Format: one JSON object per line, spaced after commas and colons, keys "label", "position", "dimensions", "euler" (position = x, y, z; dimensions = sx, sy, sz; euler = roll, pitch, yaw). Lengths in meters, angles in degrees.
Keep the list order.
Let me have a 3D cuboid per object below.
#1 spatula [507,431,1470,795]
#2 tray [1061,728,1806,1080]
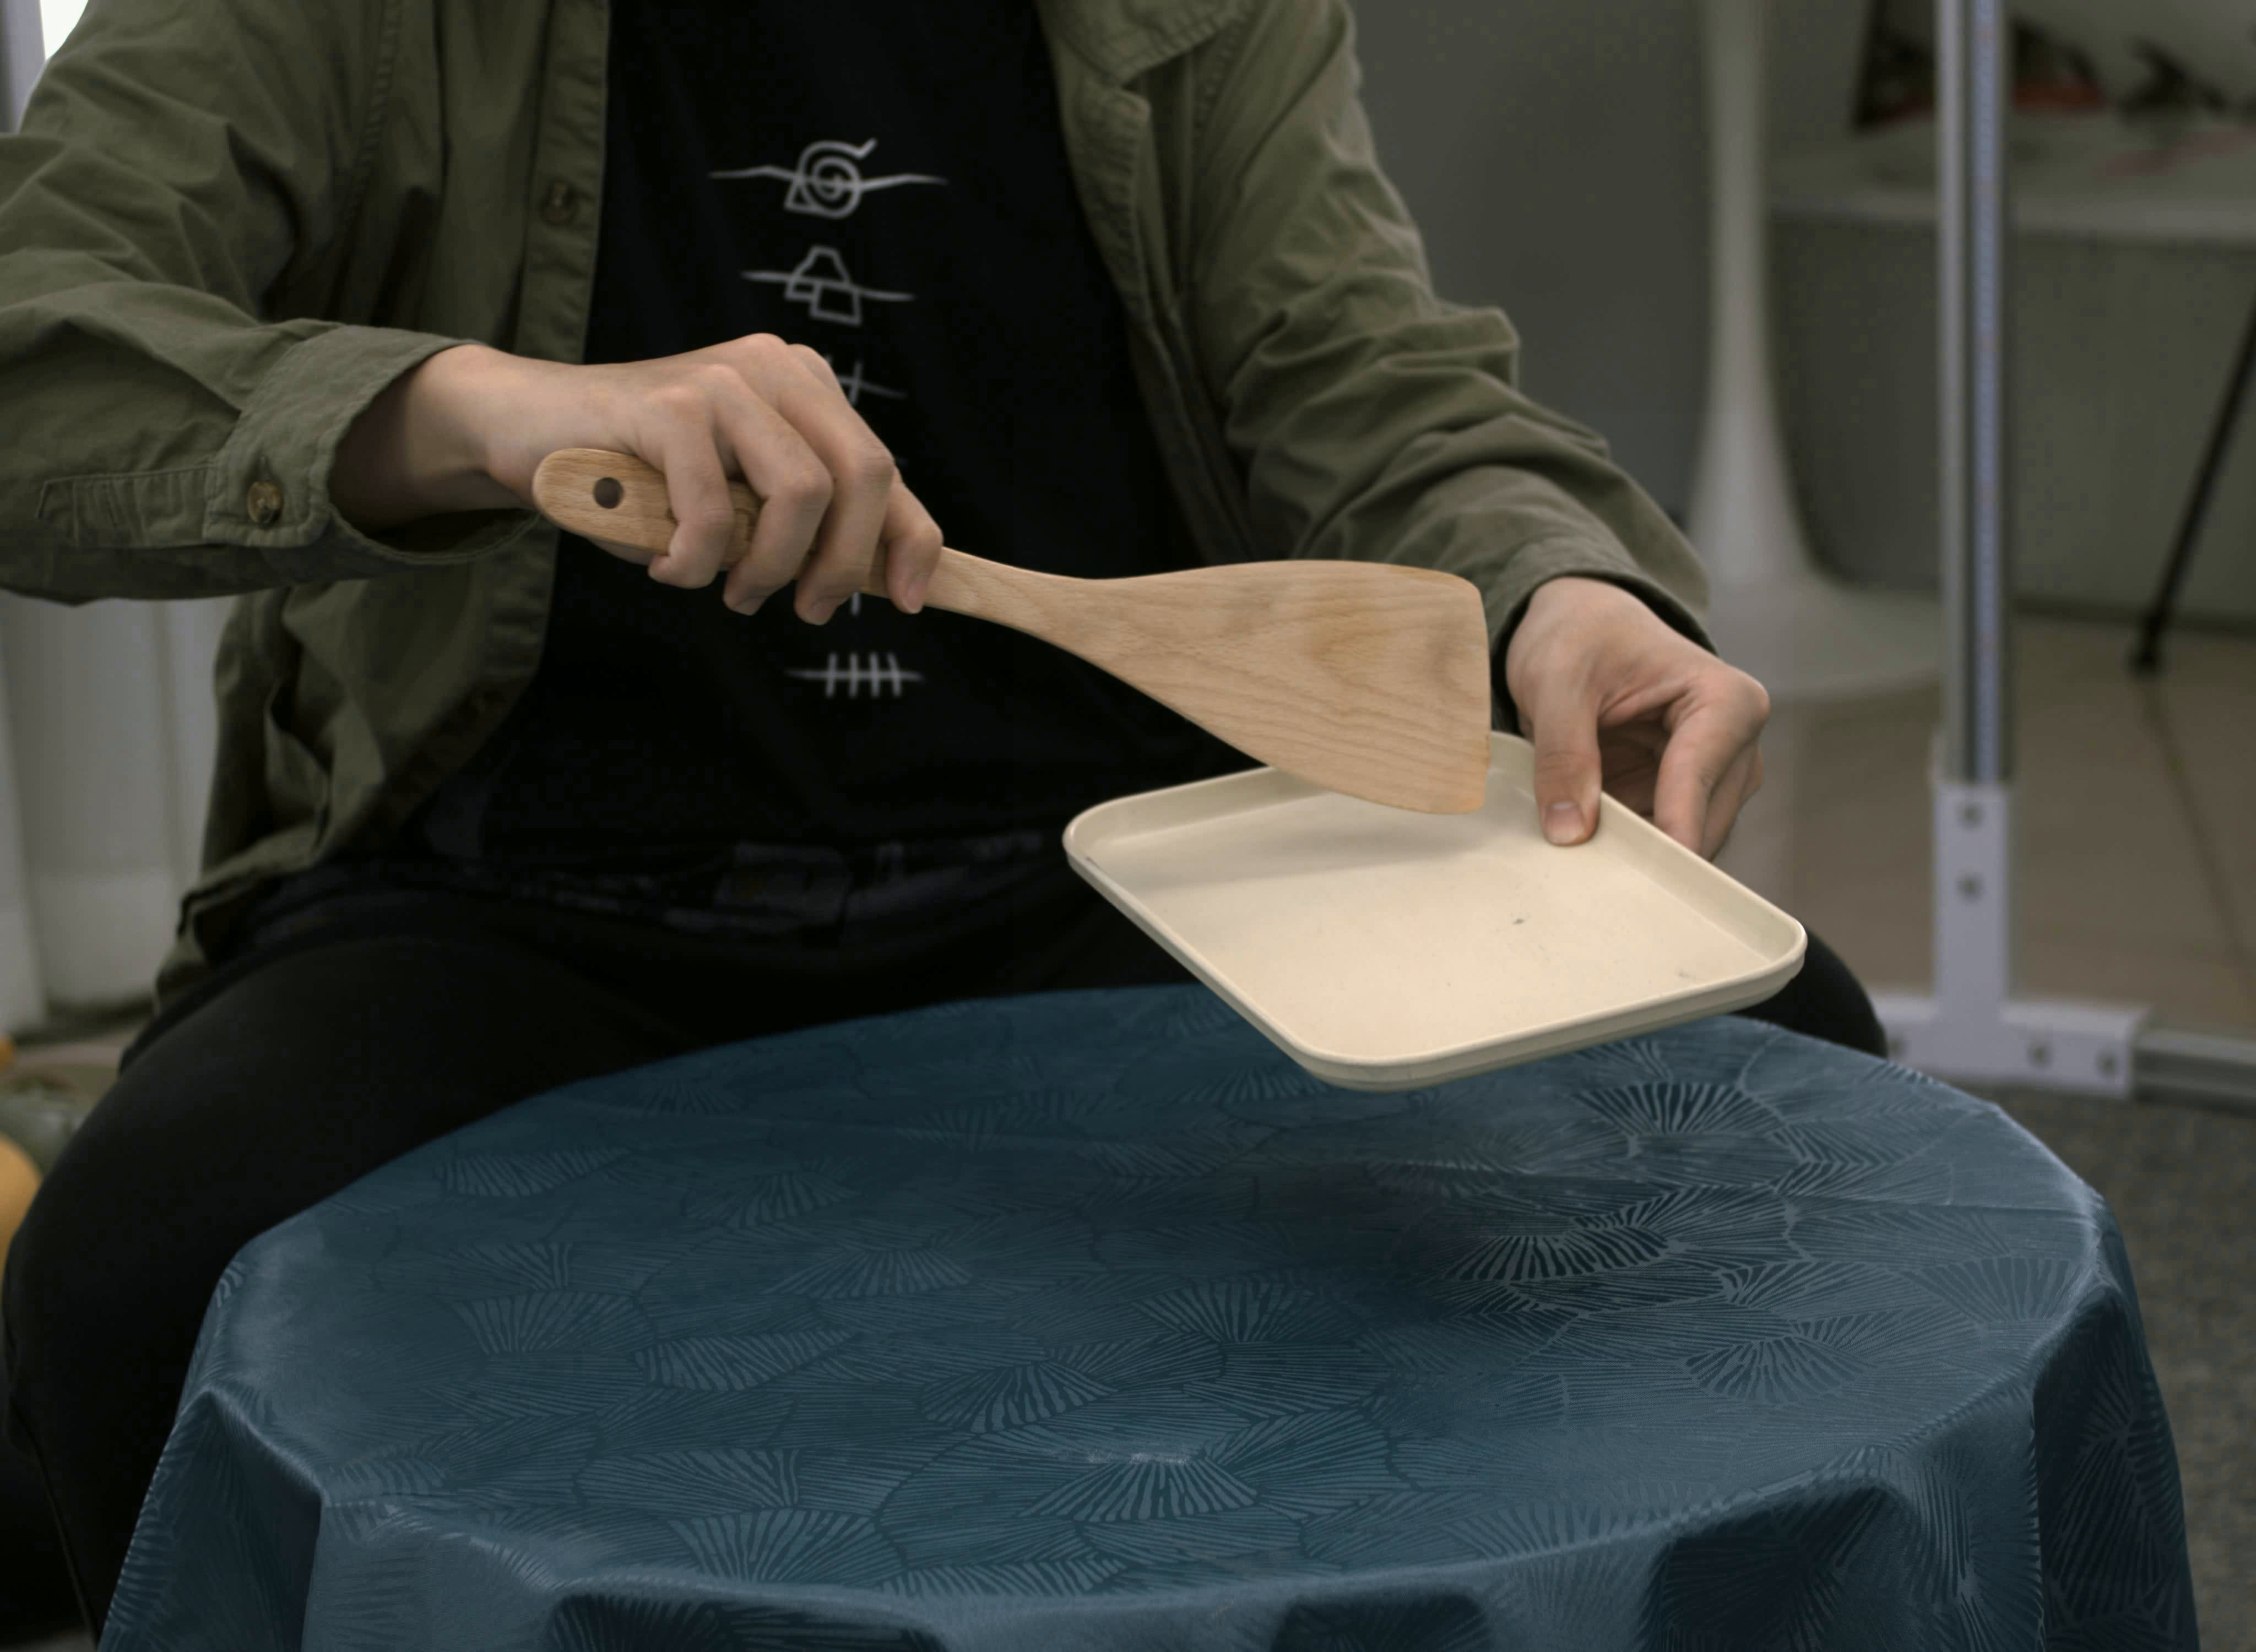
{"label": "spatula", "position": [-0.037, -0.078, 1.690], "dimensions": [0.321, 0.081, 0.016], "euler": [12, -10, -19]}
{"label": "tray", "position": [0.092, 0.023, 1.681], "dimensions": [0.168, 0.017, 0.242], "euler": [-12, 22, -19]}
